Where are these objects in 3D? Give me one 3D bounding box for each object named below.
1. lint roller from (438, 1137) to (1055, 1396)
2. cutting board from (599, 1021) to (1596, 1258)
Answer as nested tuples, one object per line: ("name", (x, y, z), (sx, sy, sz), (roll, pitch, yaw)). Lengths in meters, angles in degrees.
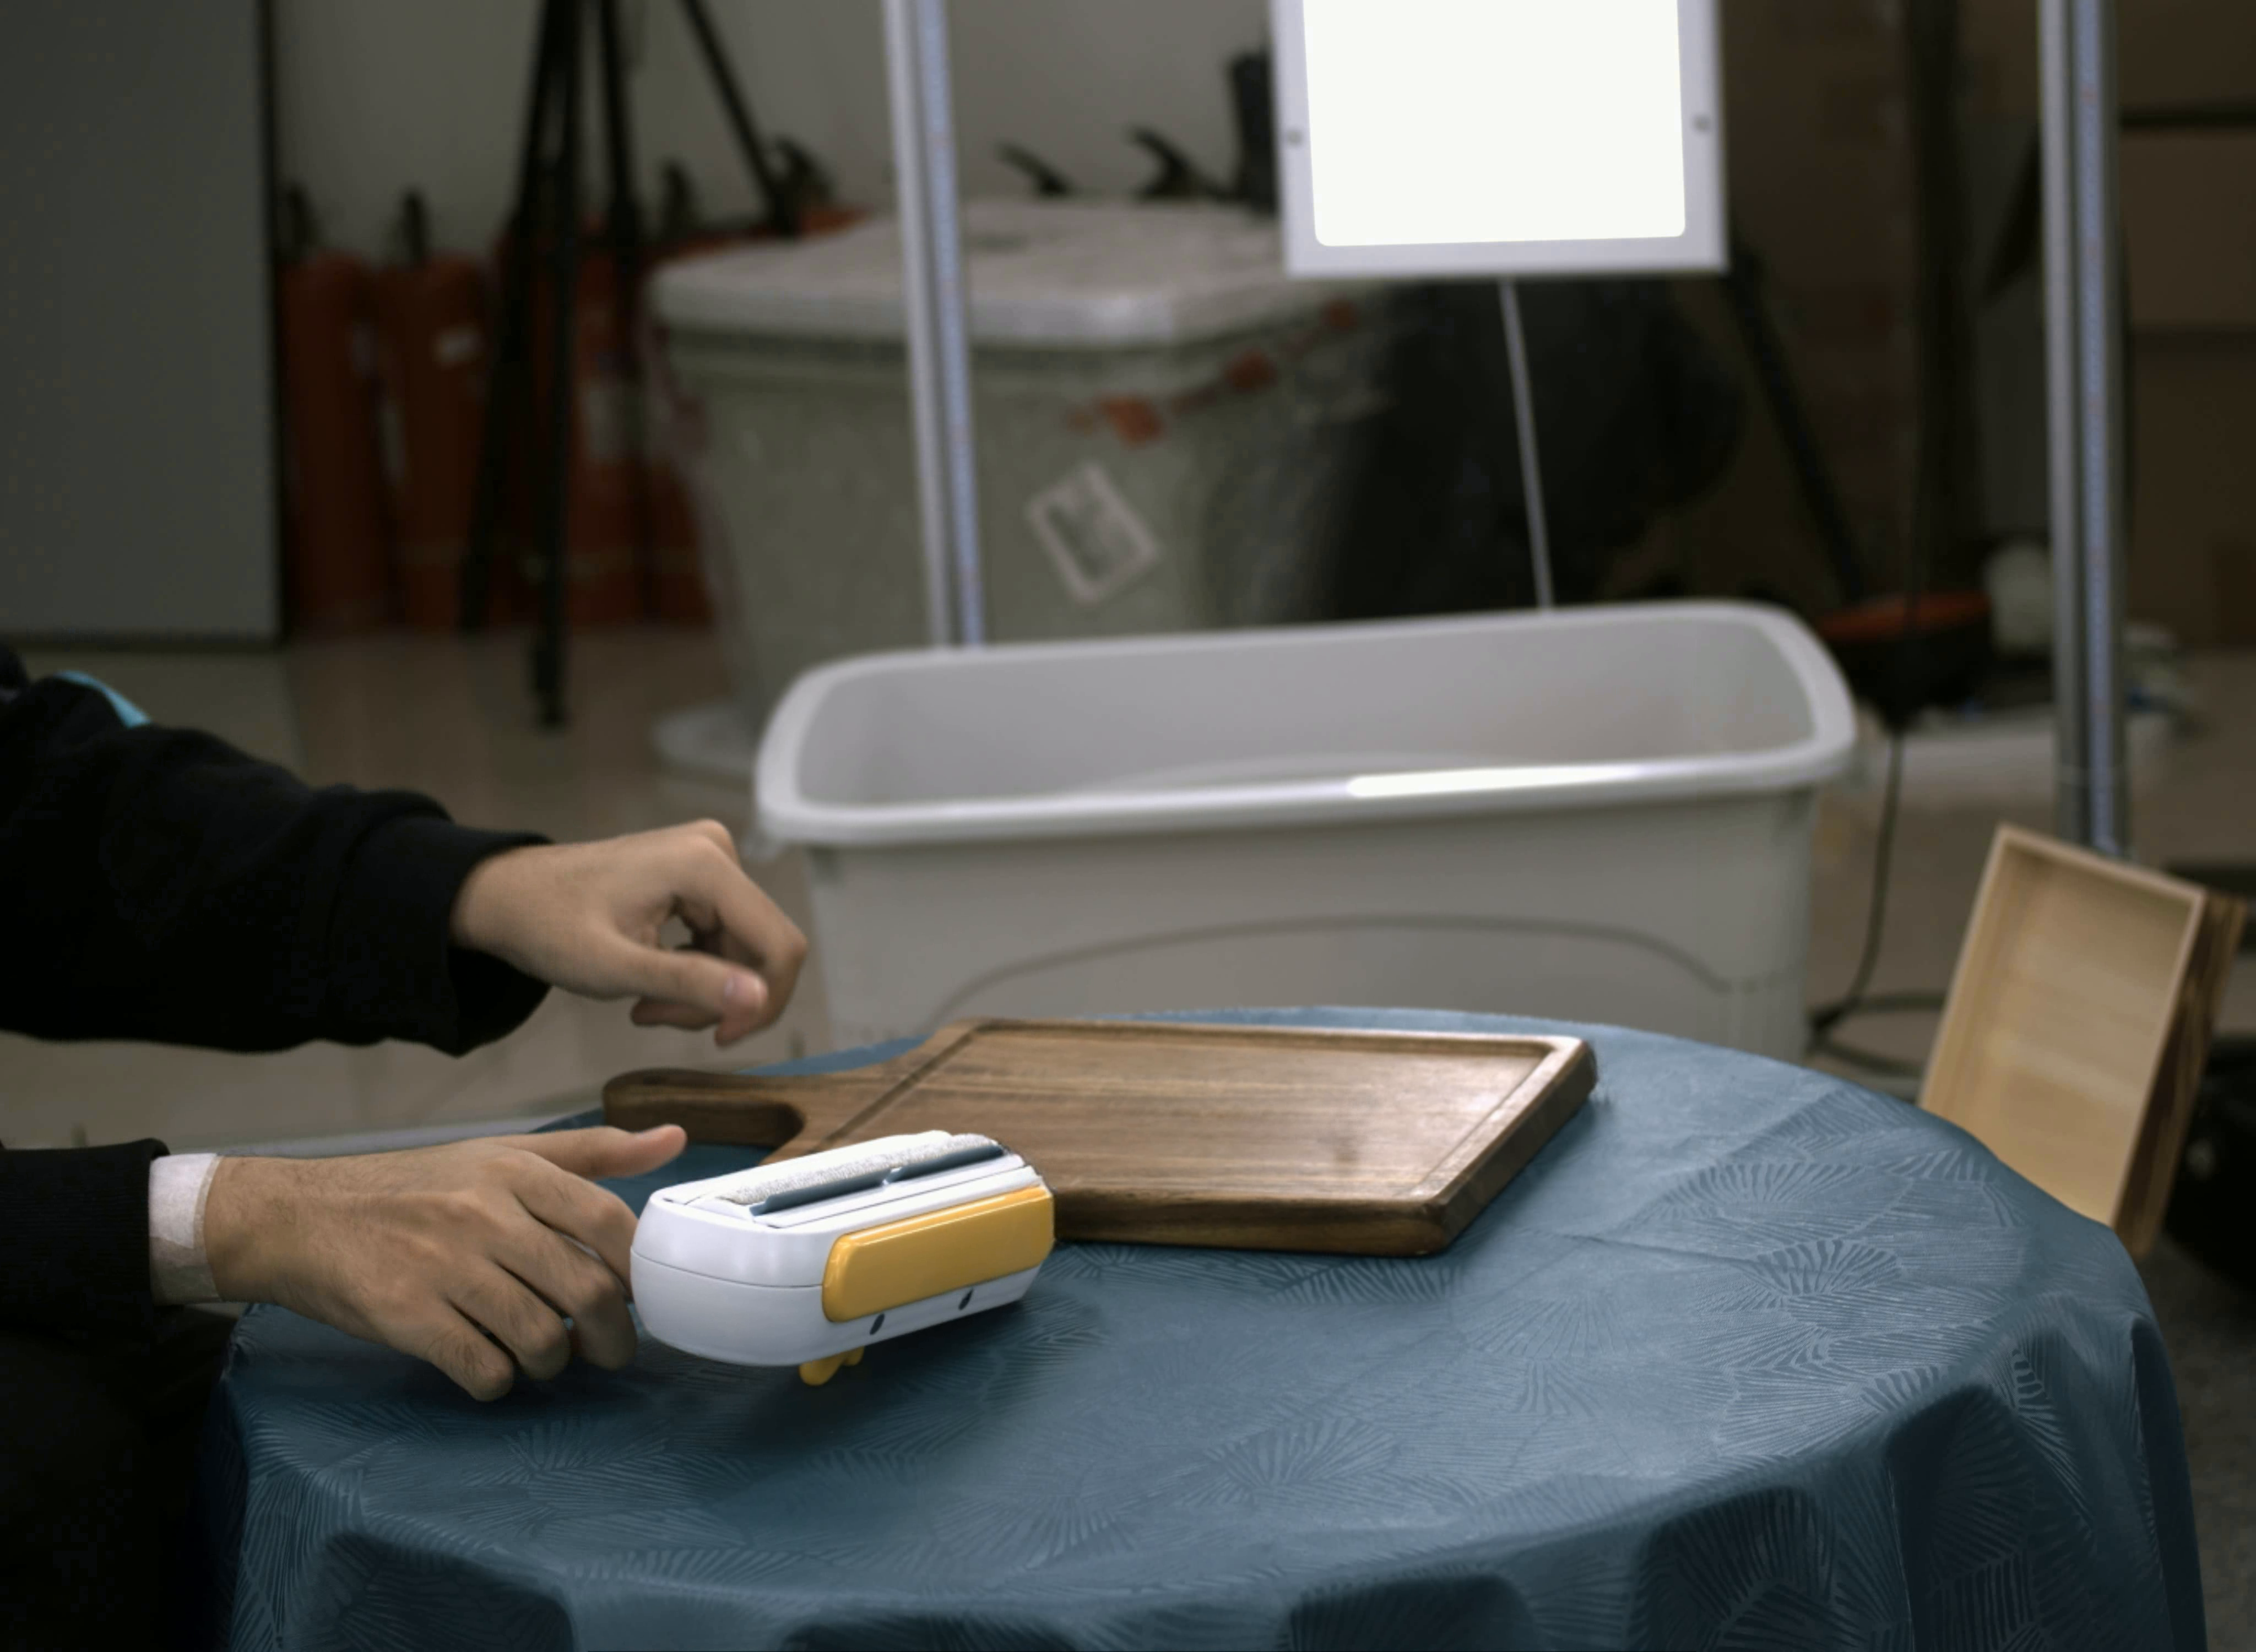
("lint roller", (-0.140, 0.138, 1.759), (0.196, 0.074, 0.188), (2, 9, 32))
("cutting board", (-0.025, 0.106, 1.946), (0.357, 0.023, 0.197), (0, 15, 23))
